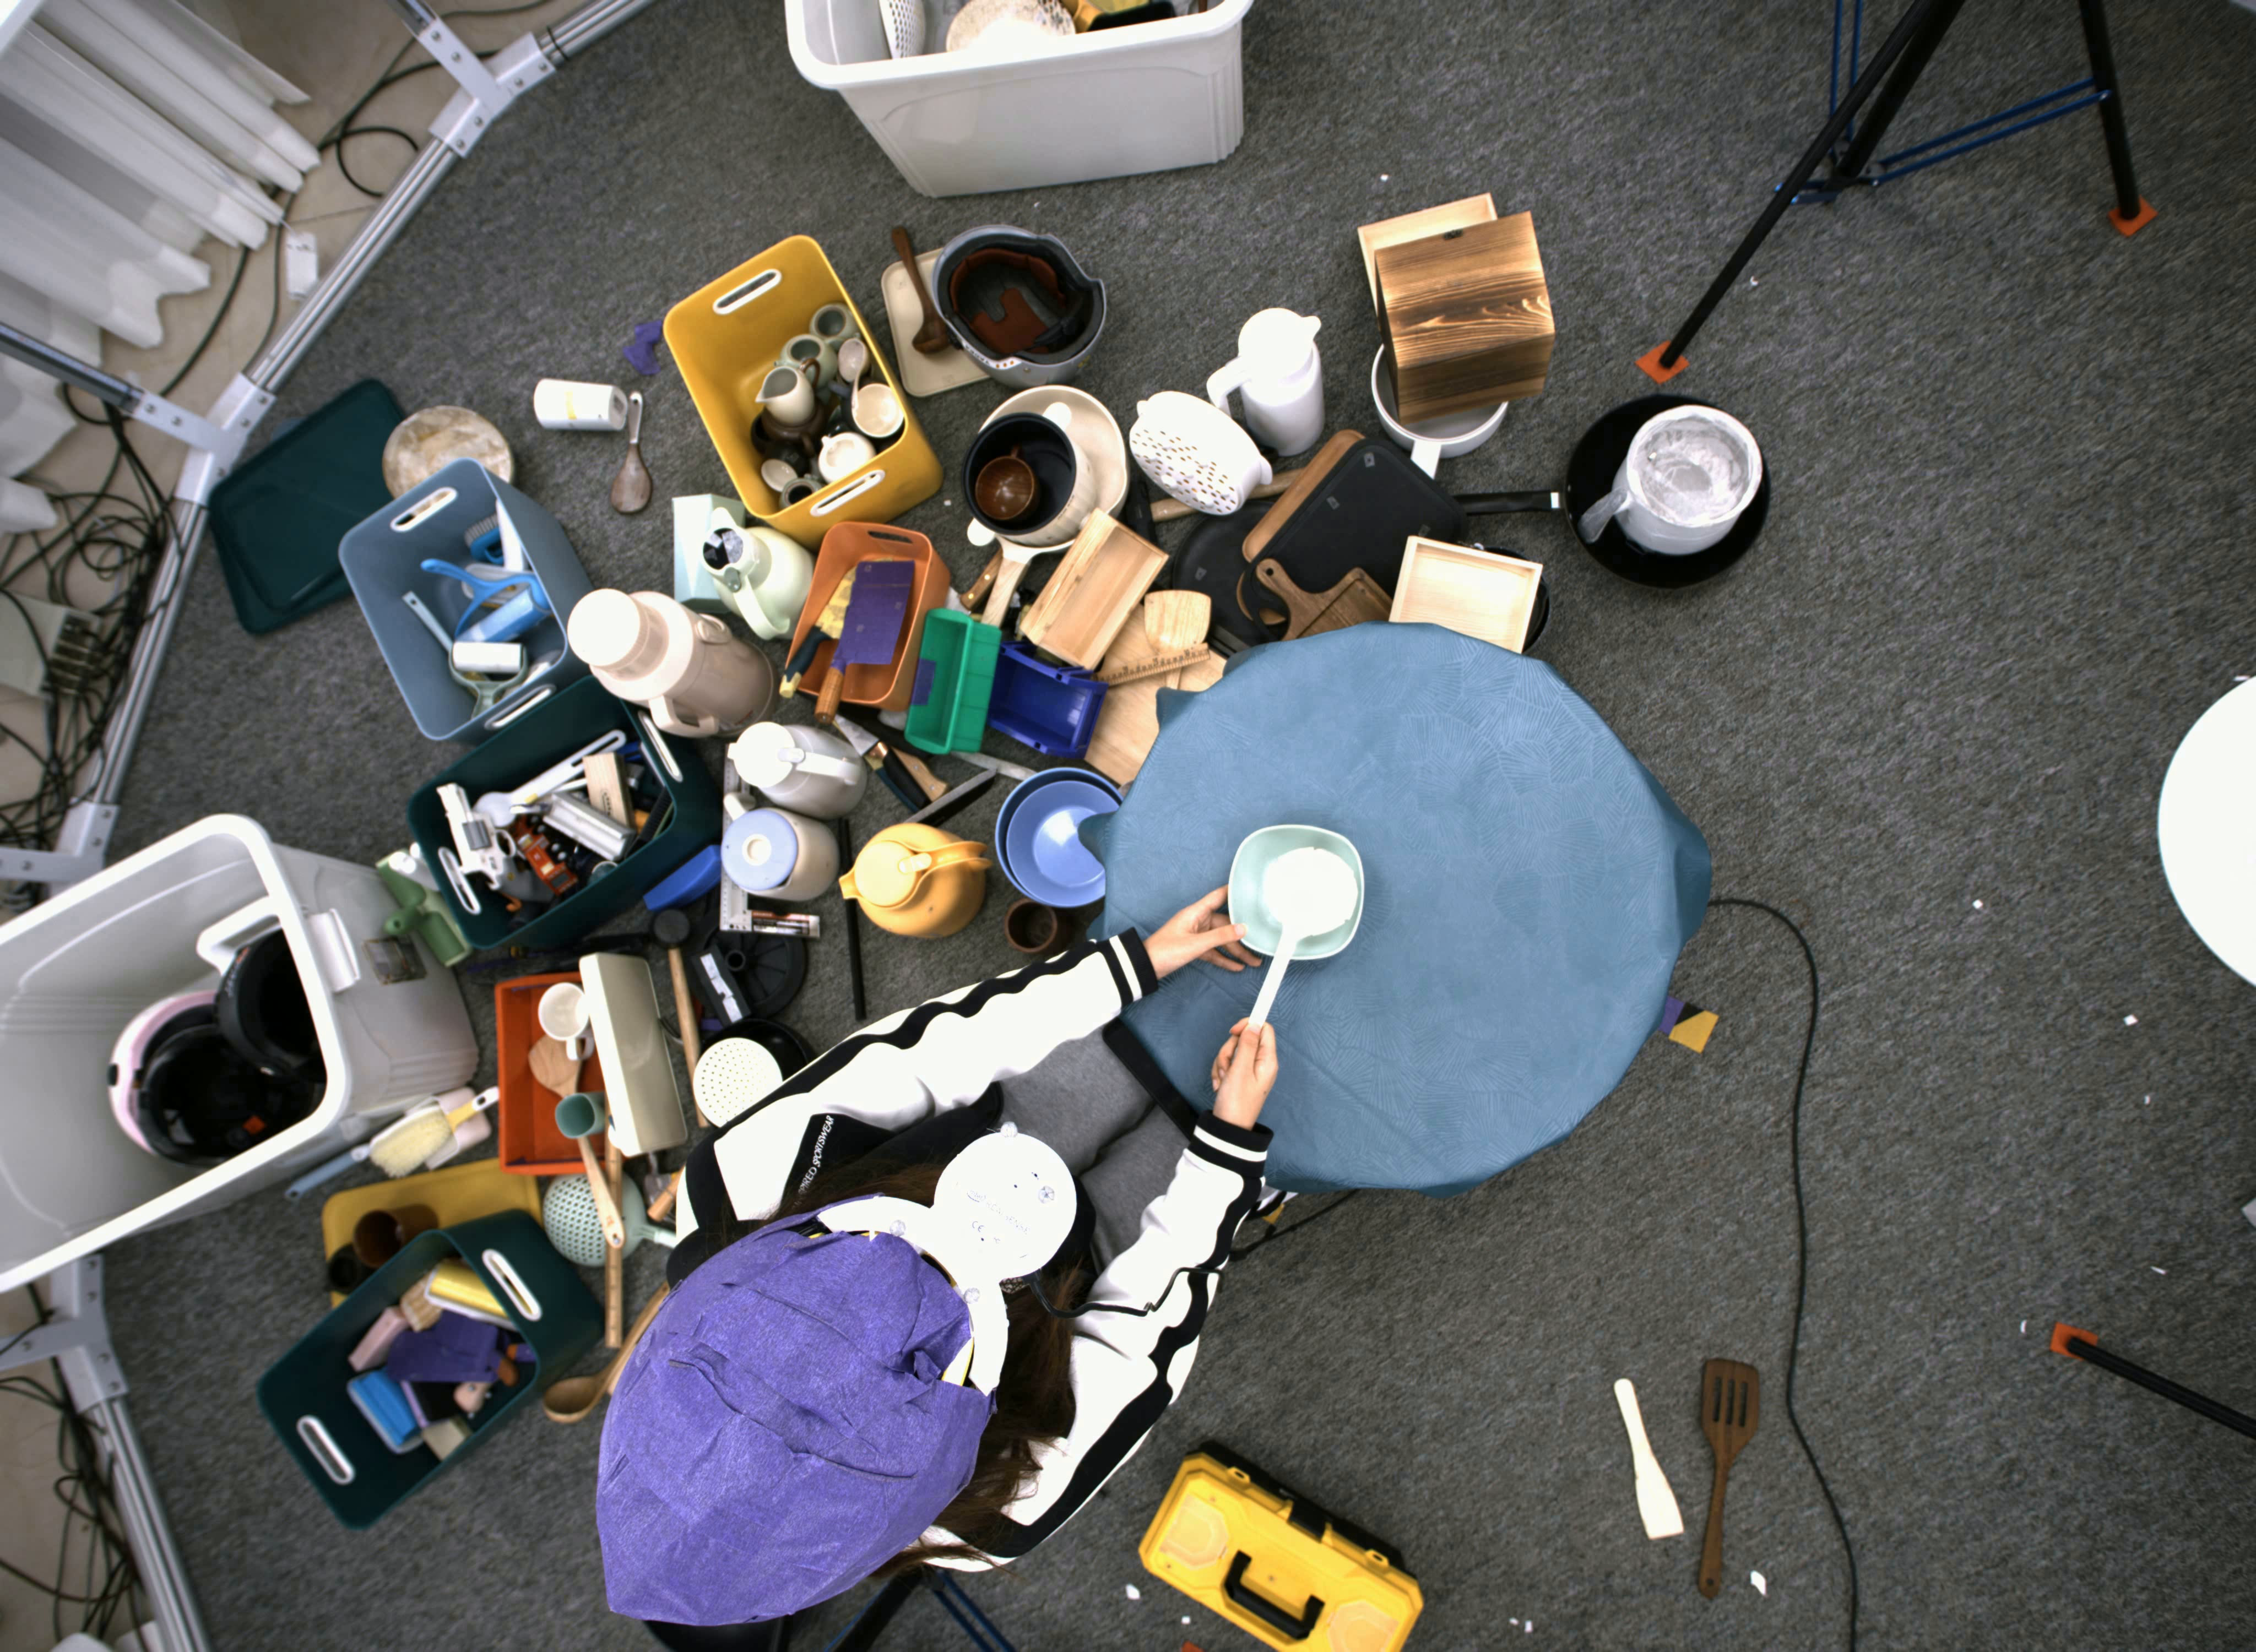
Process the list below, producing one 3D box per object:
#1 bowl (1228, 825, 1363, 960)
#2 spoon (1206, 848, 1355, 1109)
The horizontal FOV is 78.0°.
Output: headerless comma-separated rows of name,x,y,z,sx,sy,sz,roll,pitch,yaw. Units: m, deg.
bowl,0.176,0.071,1.451,0.152,0.058,0.151,-1,86,10
spoon,0.136,0.152,1.384,0.100,0.060,0.275,25,83,11
